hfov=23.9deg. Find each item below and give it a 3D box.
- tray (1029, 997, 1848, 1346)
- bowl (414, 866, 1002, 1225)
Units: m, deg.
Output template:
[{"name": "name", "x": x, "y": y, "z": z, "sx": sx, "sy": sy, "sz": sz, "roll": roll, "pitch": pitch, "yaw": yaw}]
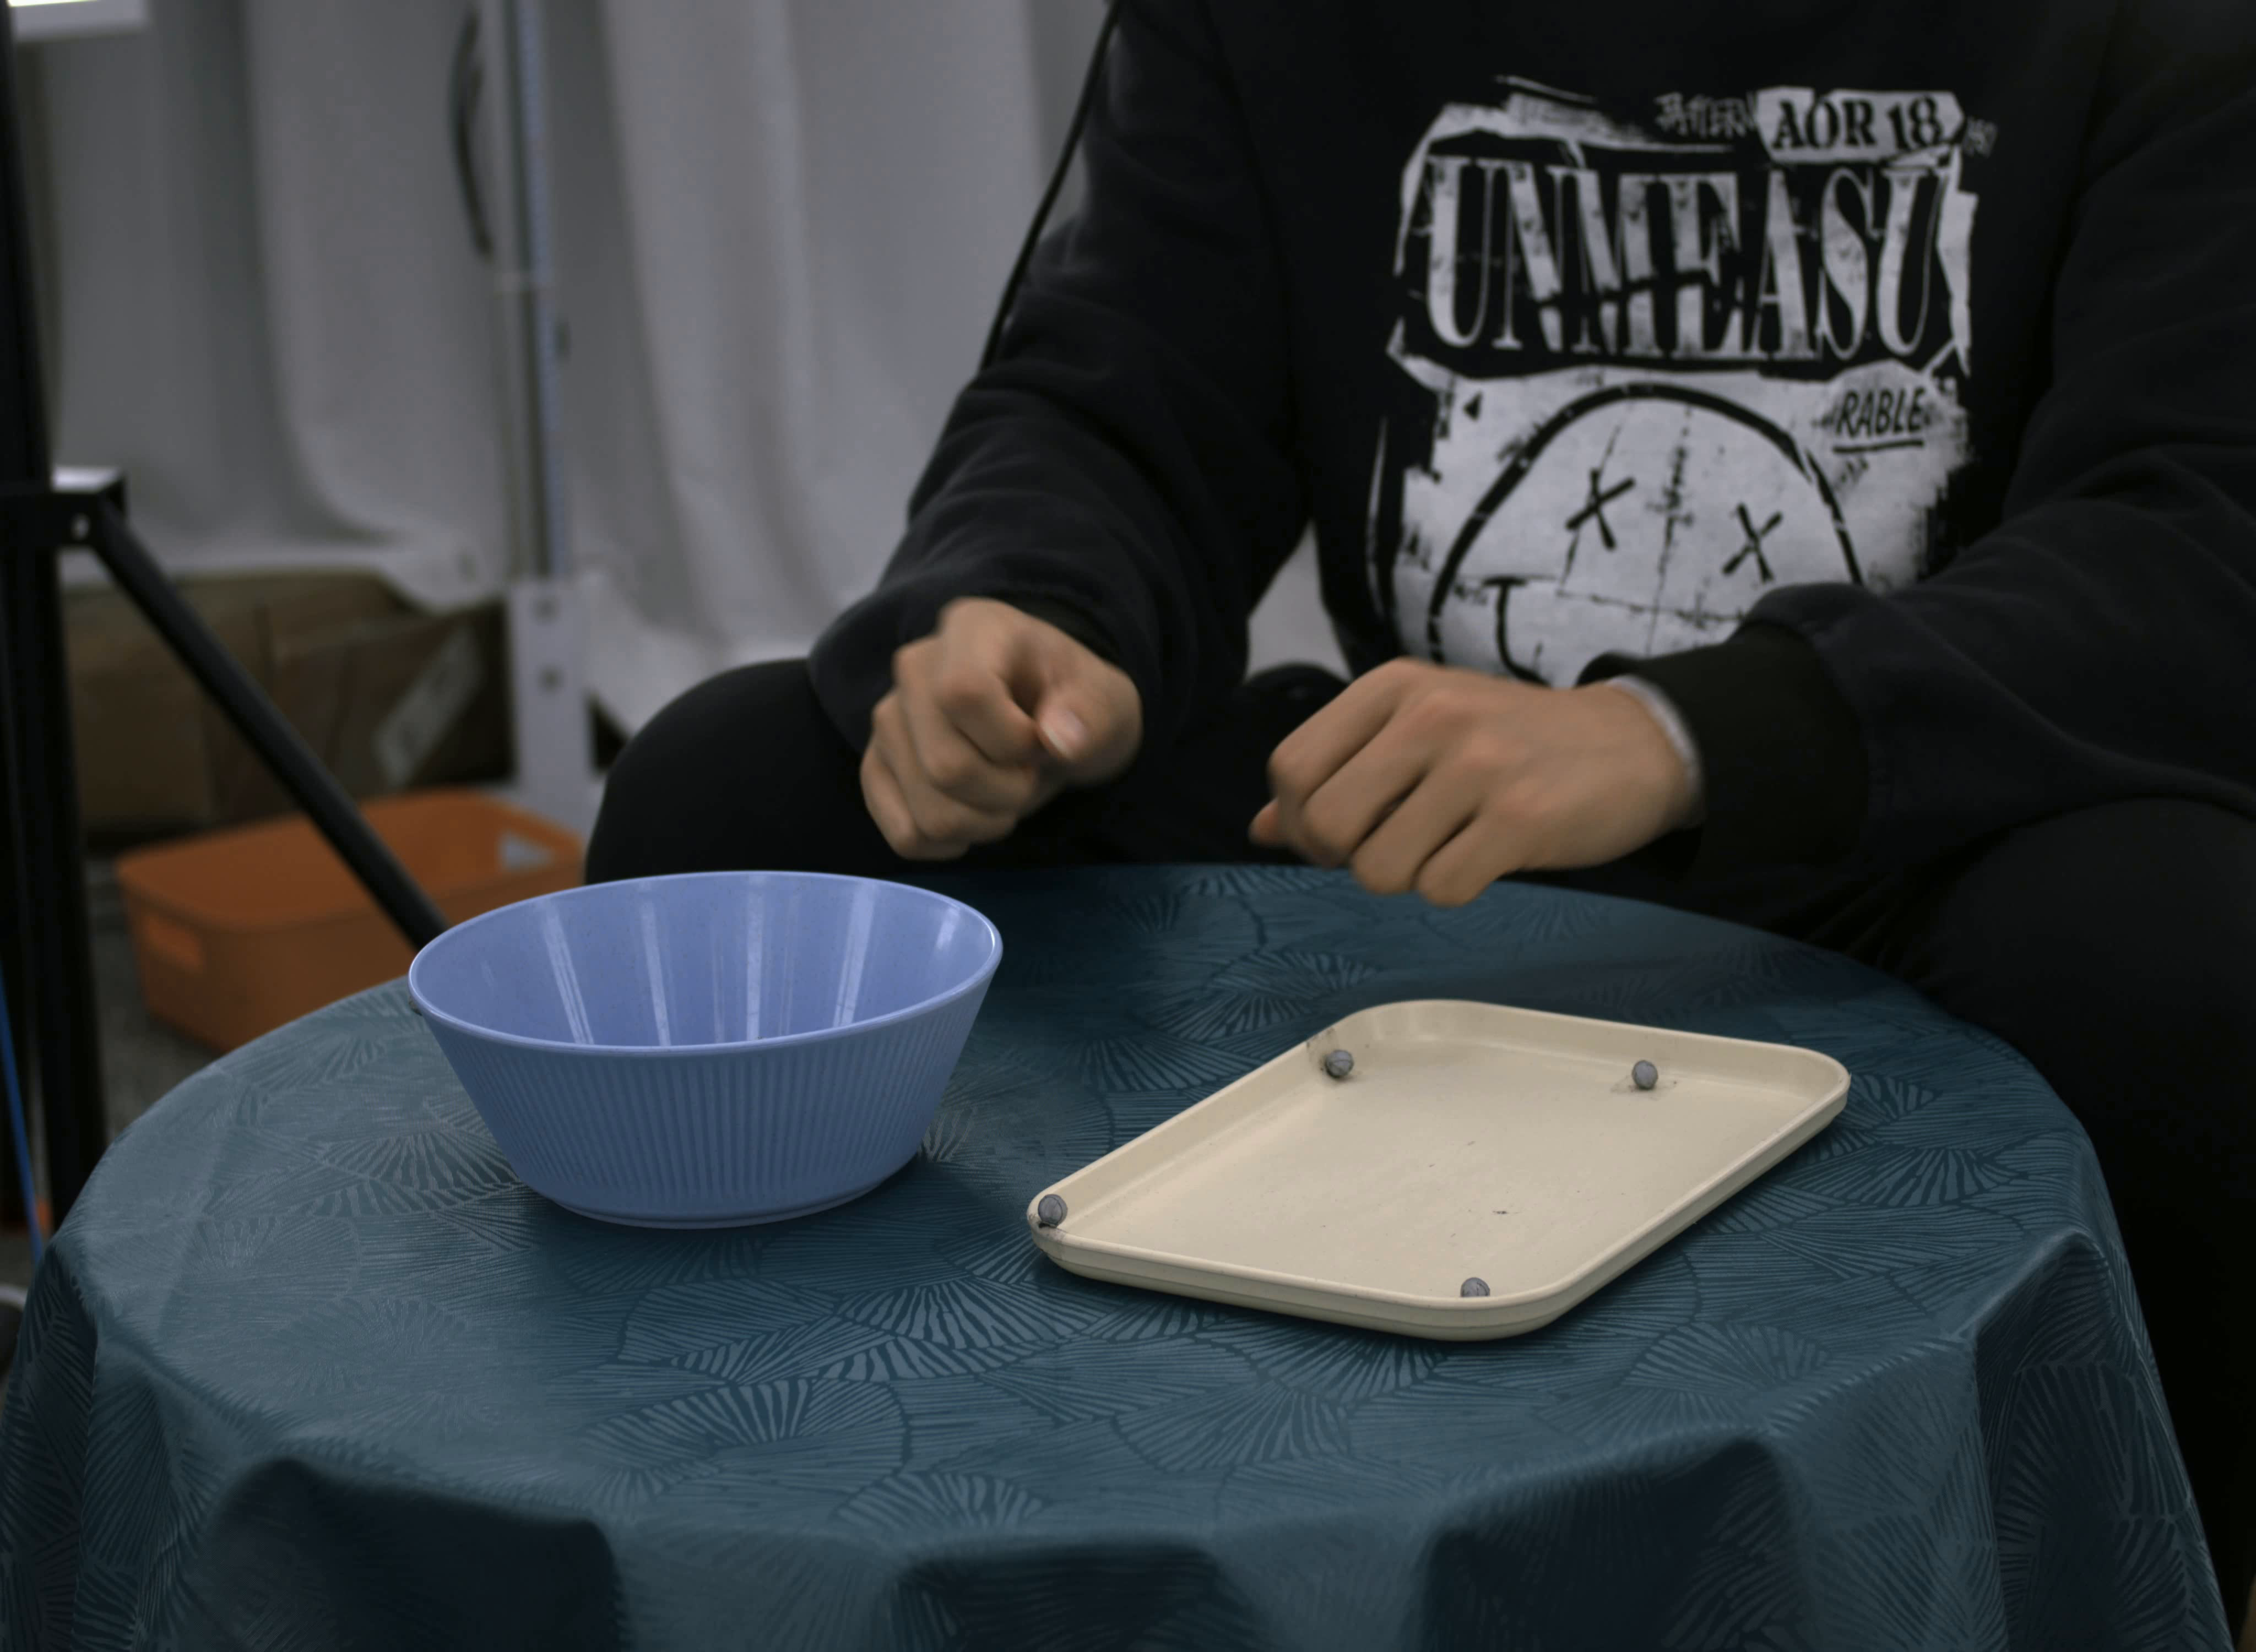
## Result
[{"name": "tray", "x": 0.094, "y": 0.099, "z": 1.541, "sx": 0.174, "sy": 0.017, "sz": 0.235, "roll": 8, "pitch": 19, "yaw": 32}, {"name": "bowl", "x": -0.123, "y": 0.068, "z": 1.590, "sx": 0.175, "sy": 0.070, "sz": 0.177, "roll": -3, "pitch": 16, "yaw": -1}]
